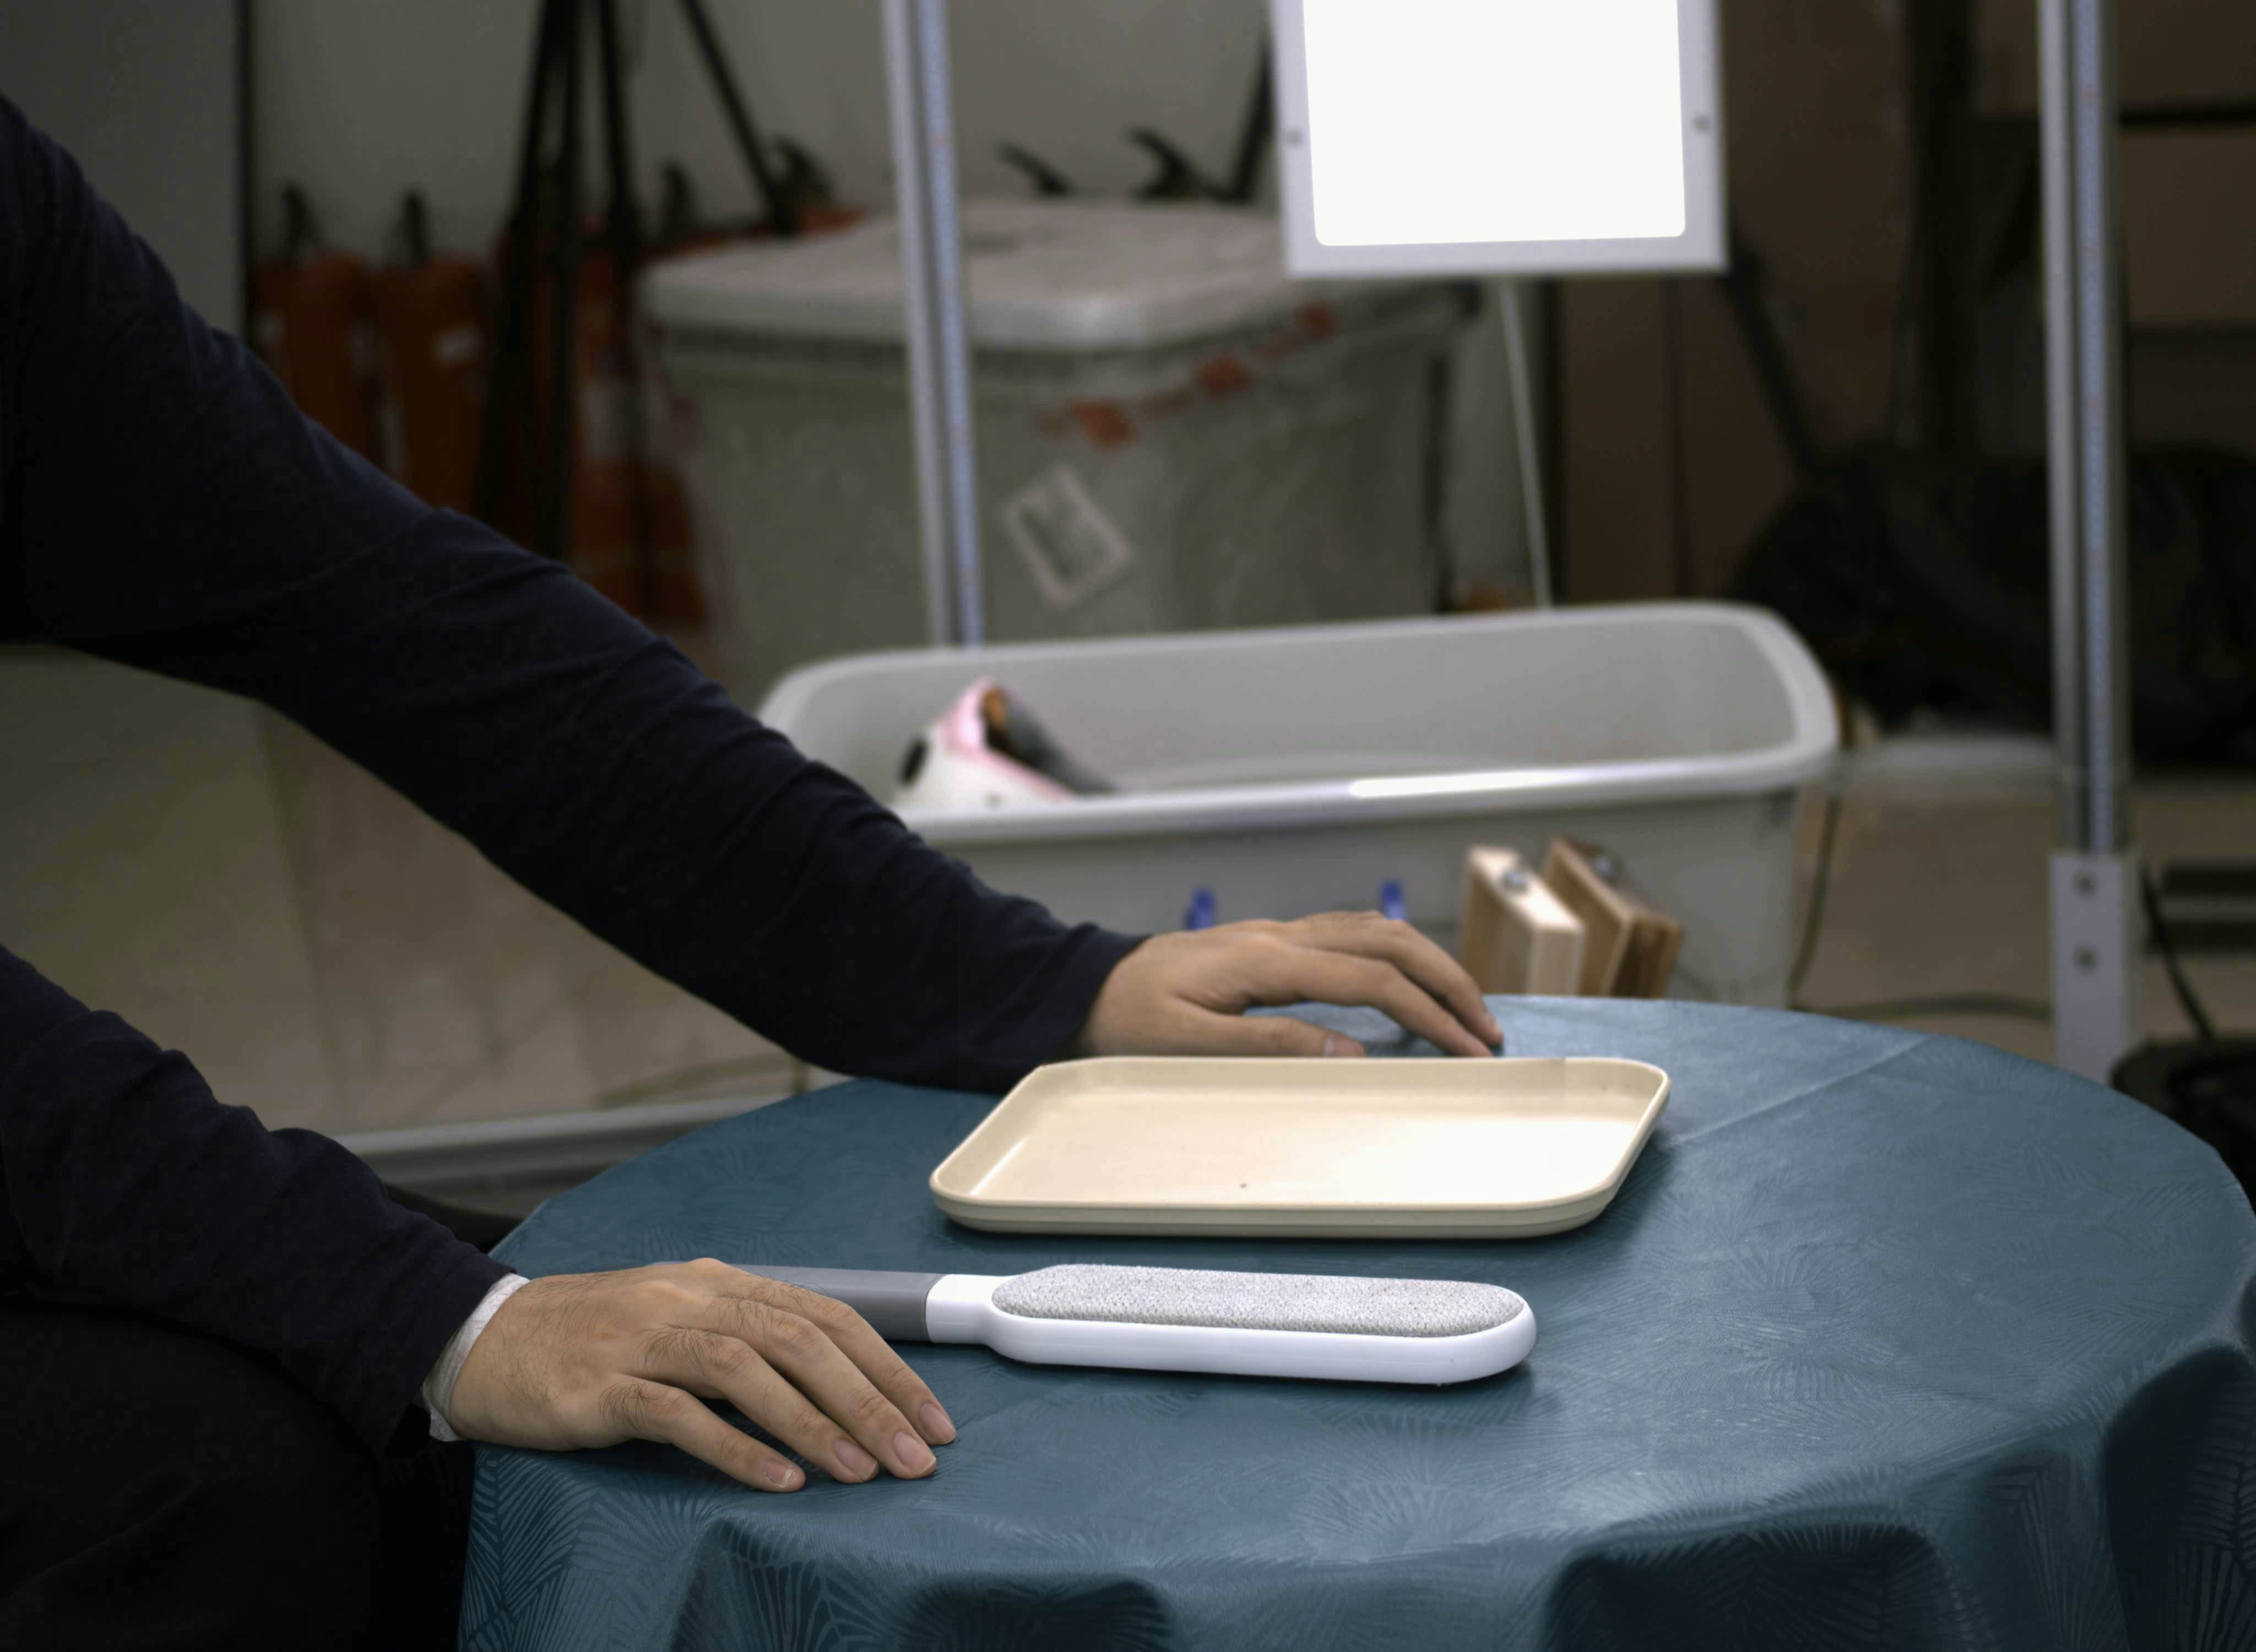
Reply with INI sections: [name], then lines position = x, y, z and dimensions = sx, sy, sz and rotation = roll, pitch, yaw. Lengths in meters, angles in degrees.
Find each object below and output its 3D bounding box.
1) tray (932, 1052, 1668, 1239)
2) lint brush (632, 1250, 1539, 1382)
[tray]
position = 0.062, 0.111, 1.906
dimensions = 0.242, 0.017, 0.169
rotation = -1, 15, 17
[lint brush]
position = -0.019, 0.152, 1.750
dimensions = 0.314, 0.021, 0.059
rotation = 1, 20, 25
